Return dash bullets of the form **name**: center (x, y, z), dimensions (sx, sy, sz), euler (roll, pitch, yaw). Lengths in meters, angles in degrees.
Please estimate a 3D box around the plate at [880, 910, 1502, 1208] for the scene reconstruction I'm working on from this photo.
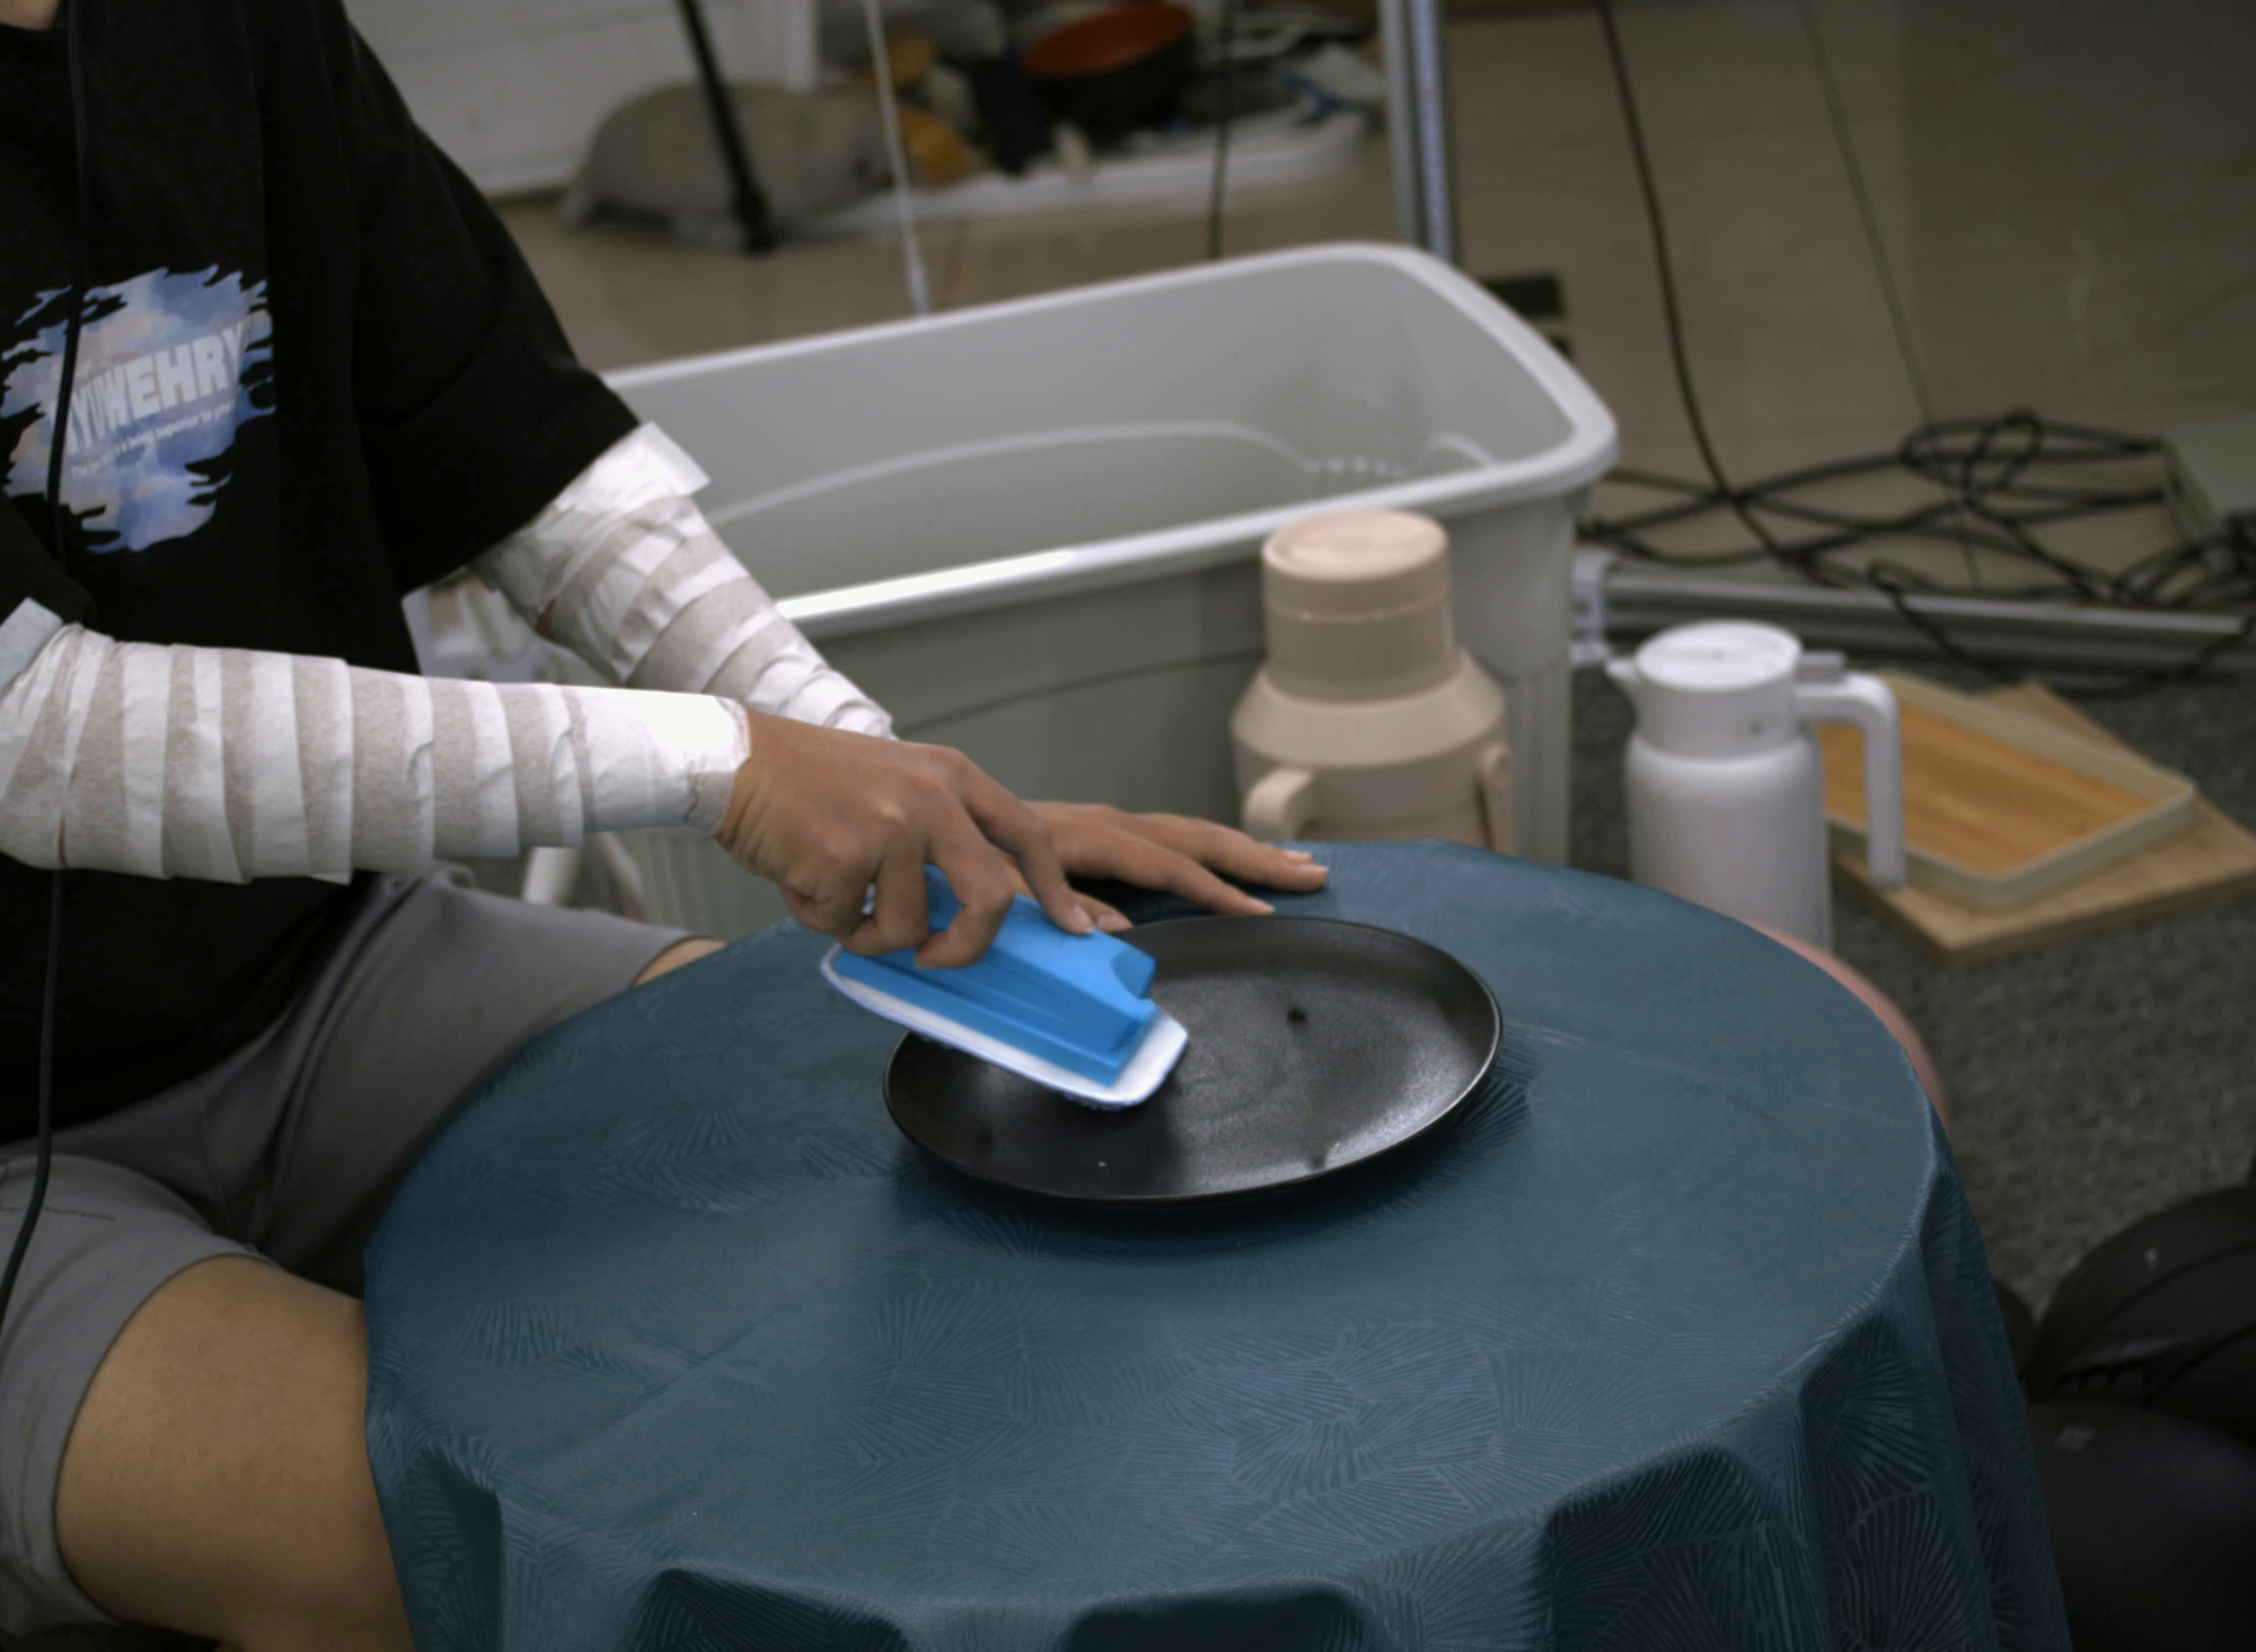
- **plate**: center (0.025, 0.096, 2.206), dimensions (0.244, 0.024, 0.241), euler (-6, 25, 3)

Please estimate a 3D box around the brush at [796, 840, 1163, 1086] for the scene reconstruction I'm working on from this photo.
- **brush**: center (-0.053, 0.050, 2.210), dimensions (0.143, 0.057, 0.083), euler (24, 26, 8)
